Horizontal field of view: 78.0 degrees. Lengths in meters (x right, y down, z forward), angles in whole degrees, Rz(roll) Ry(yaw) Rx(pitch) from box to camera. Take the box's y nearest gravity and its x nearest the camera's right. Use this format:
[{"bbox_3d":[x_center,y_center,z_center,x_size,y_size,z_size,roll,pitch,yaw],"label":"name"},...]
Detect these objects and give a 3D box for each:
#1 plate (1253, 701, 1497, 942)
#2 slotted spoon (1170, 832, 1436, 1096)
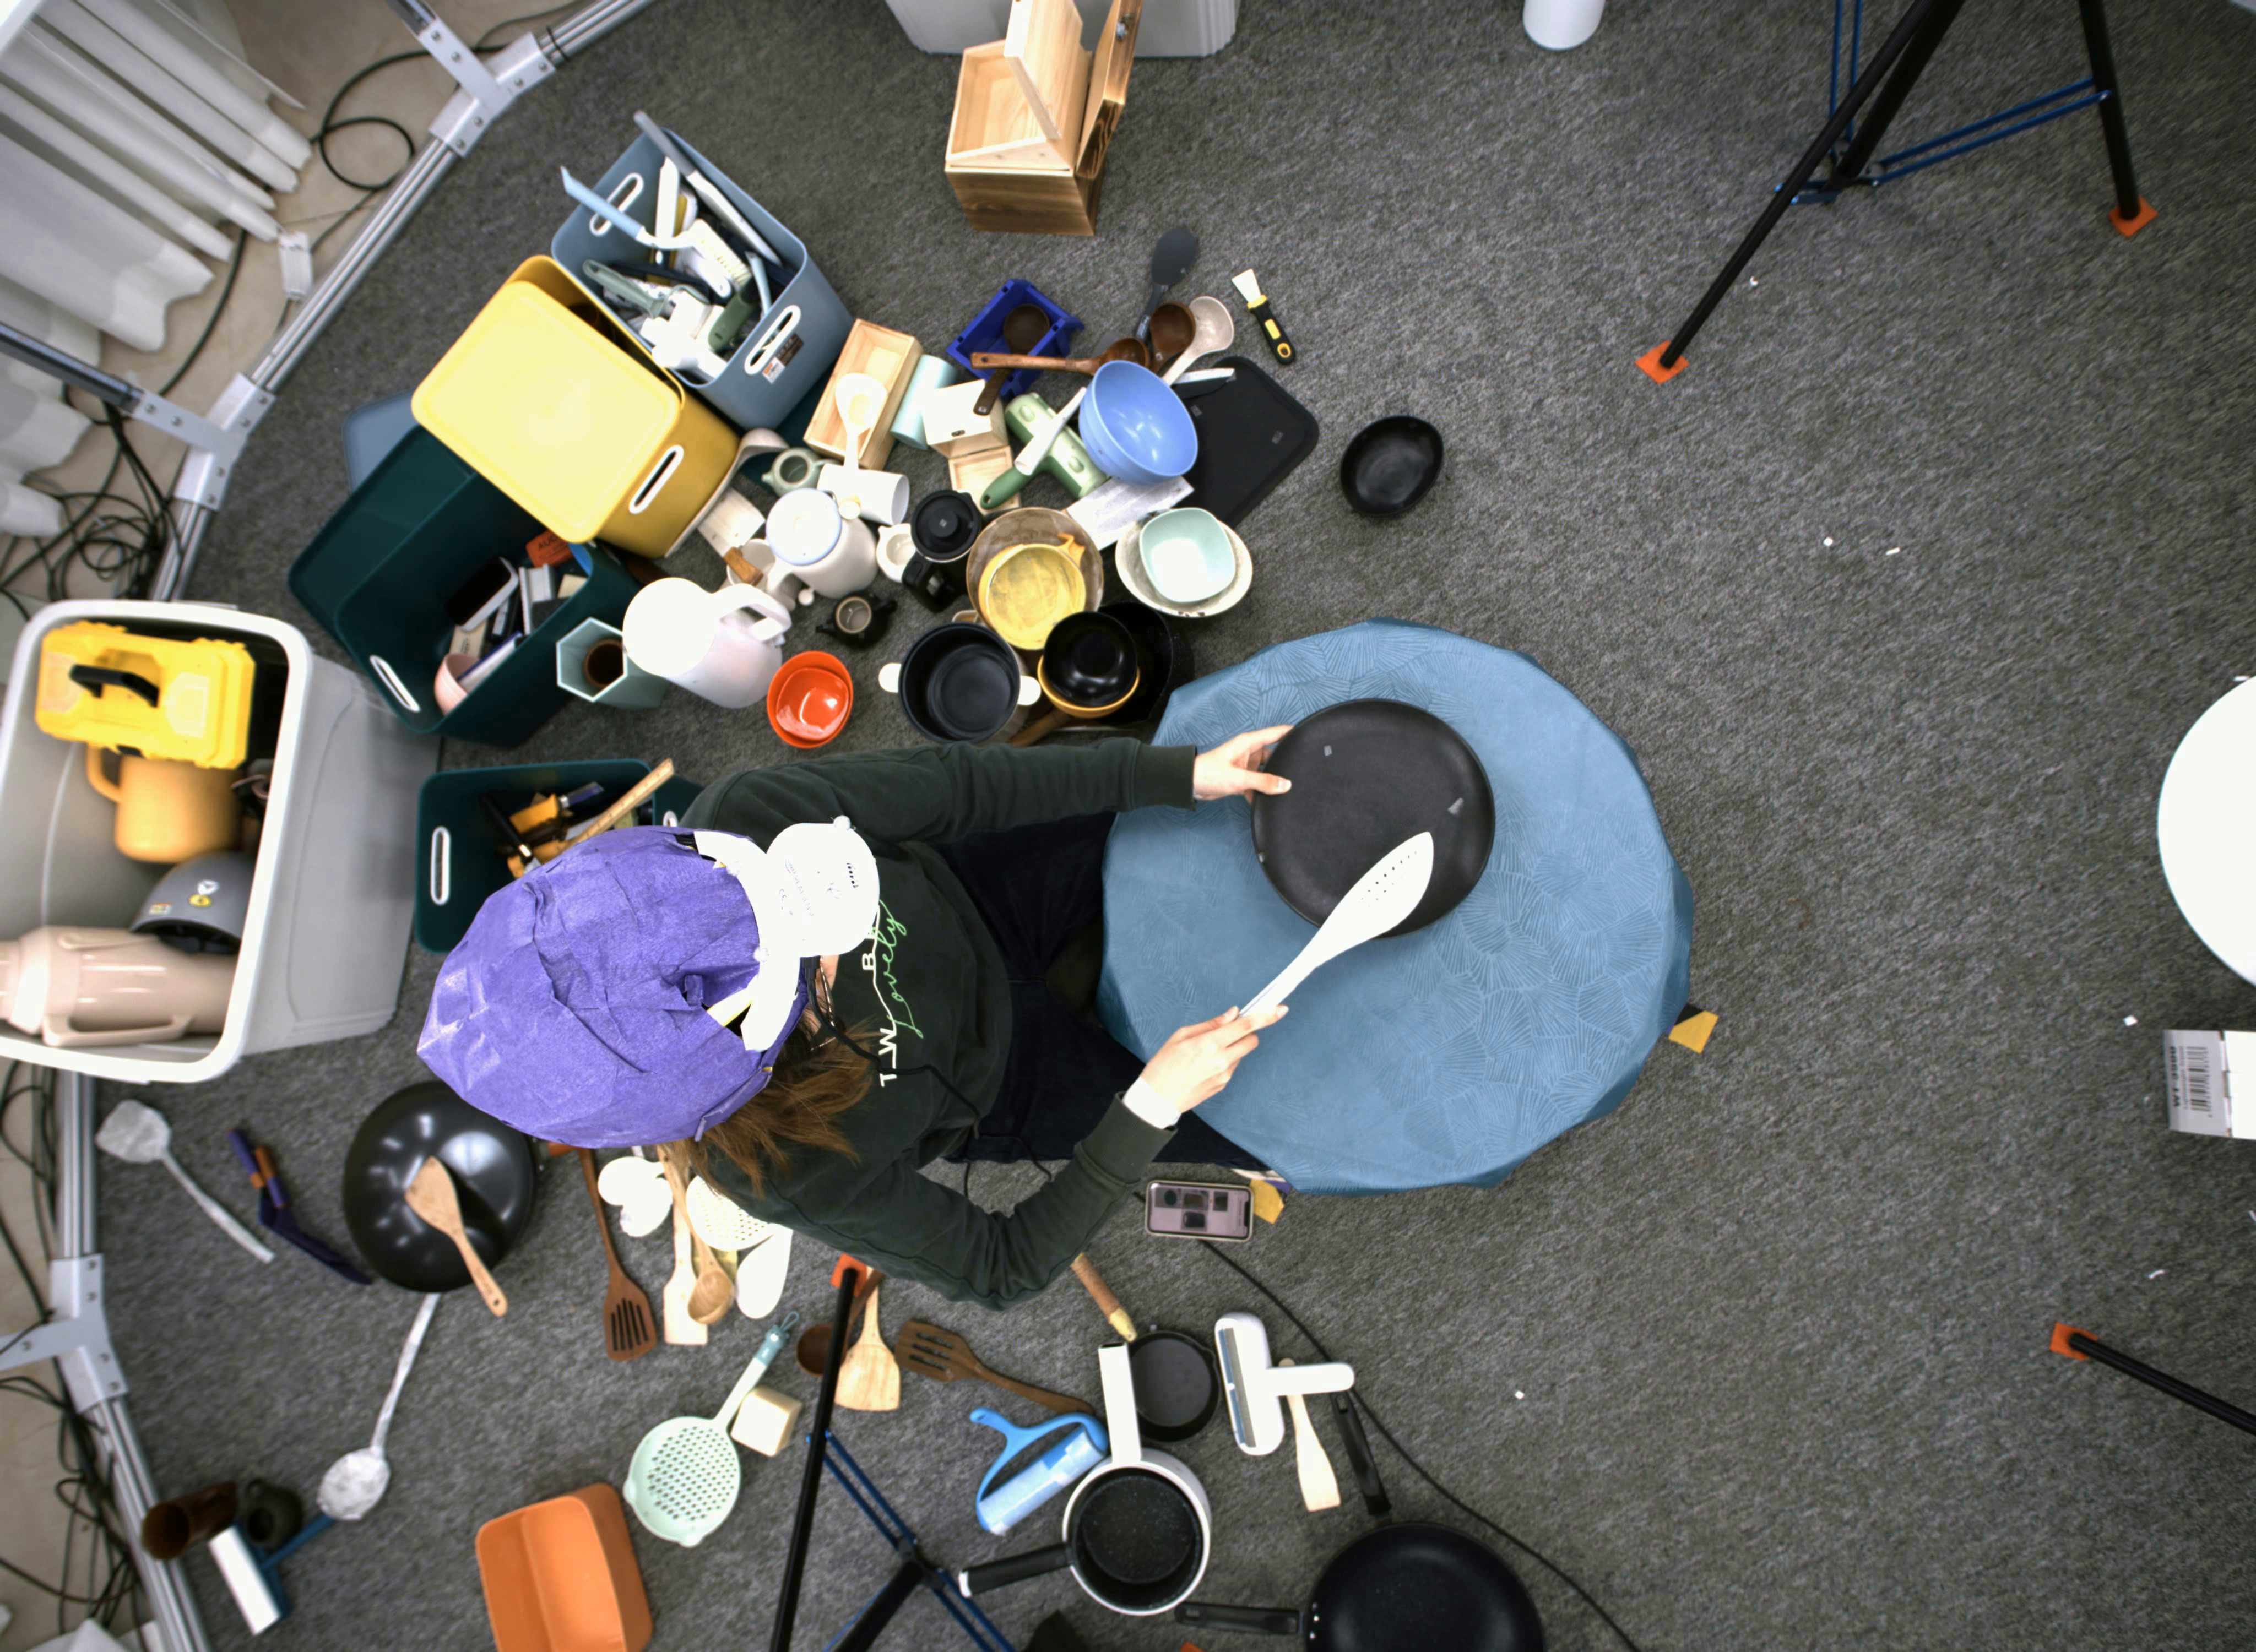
[{"bbox_3d":[0.249,-0.006,1.395,0.245,0.023,0.244,0,91,9],"label":"plate"},{"bbox_3d":[0.167,0.134,1.319,0.352,0.135,0.046,-40,93,10],"label":"slotted spoon"}]
